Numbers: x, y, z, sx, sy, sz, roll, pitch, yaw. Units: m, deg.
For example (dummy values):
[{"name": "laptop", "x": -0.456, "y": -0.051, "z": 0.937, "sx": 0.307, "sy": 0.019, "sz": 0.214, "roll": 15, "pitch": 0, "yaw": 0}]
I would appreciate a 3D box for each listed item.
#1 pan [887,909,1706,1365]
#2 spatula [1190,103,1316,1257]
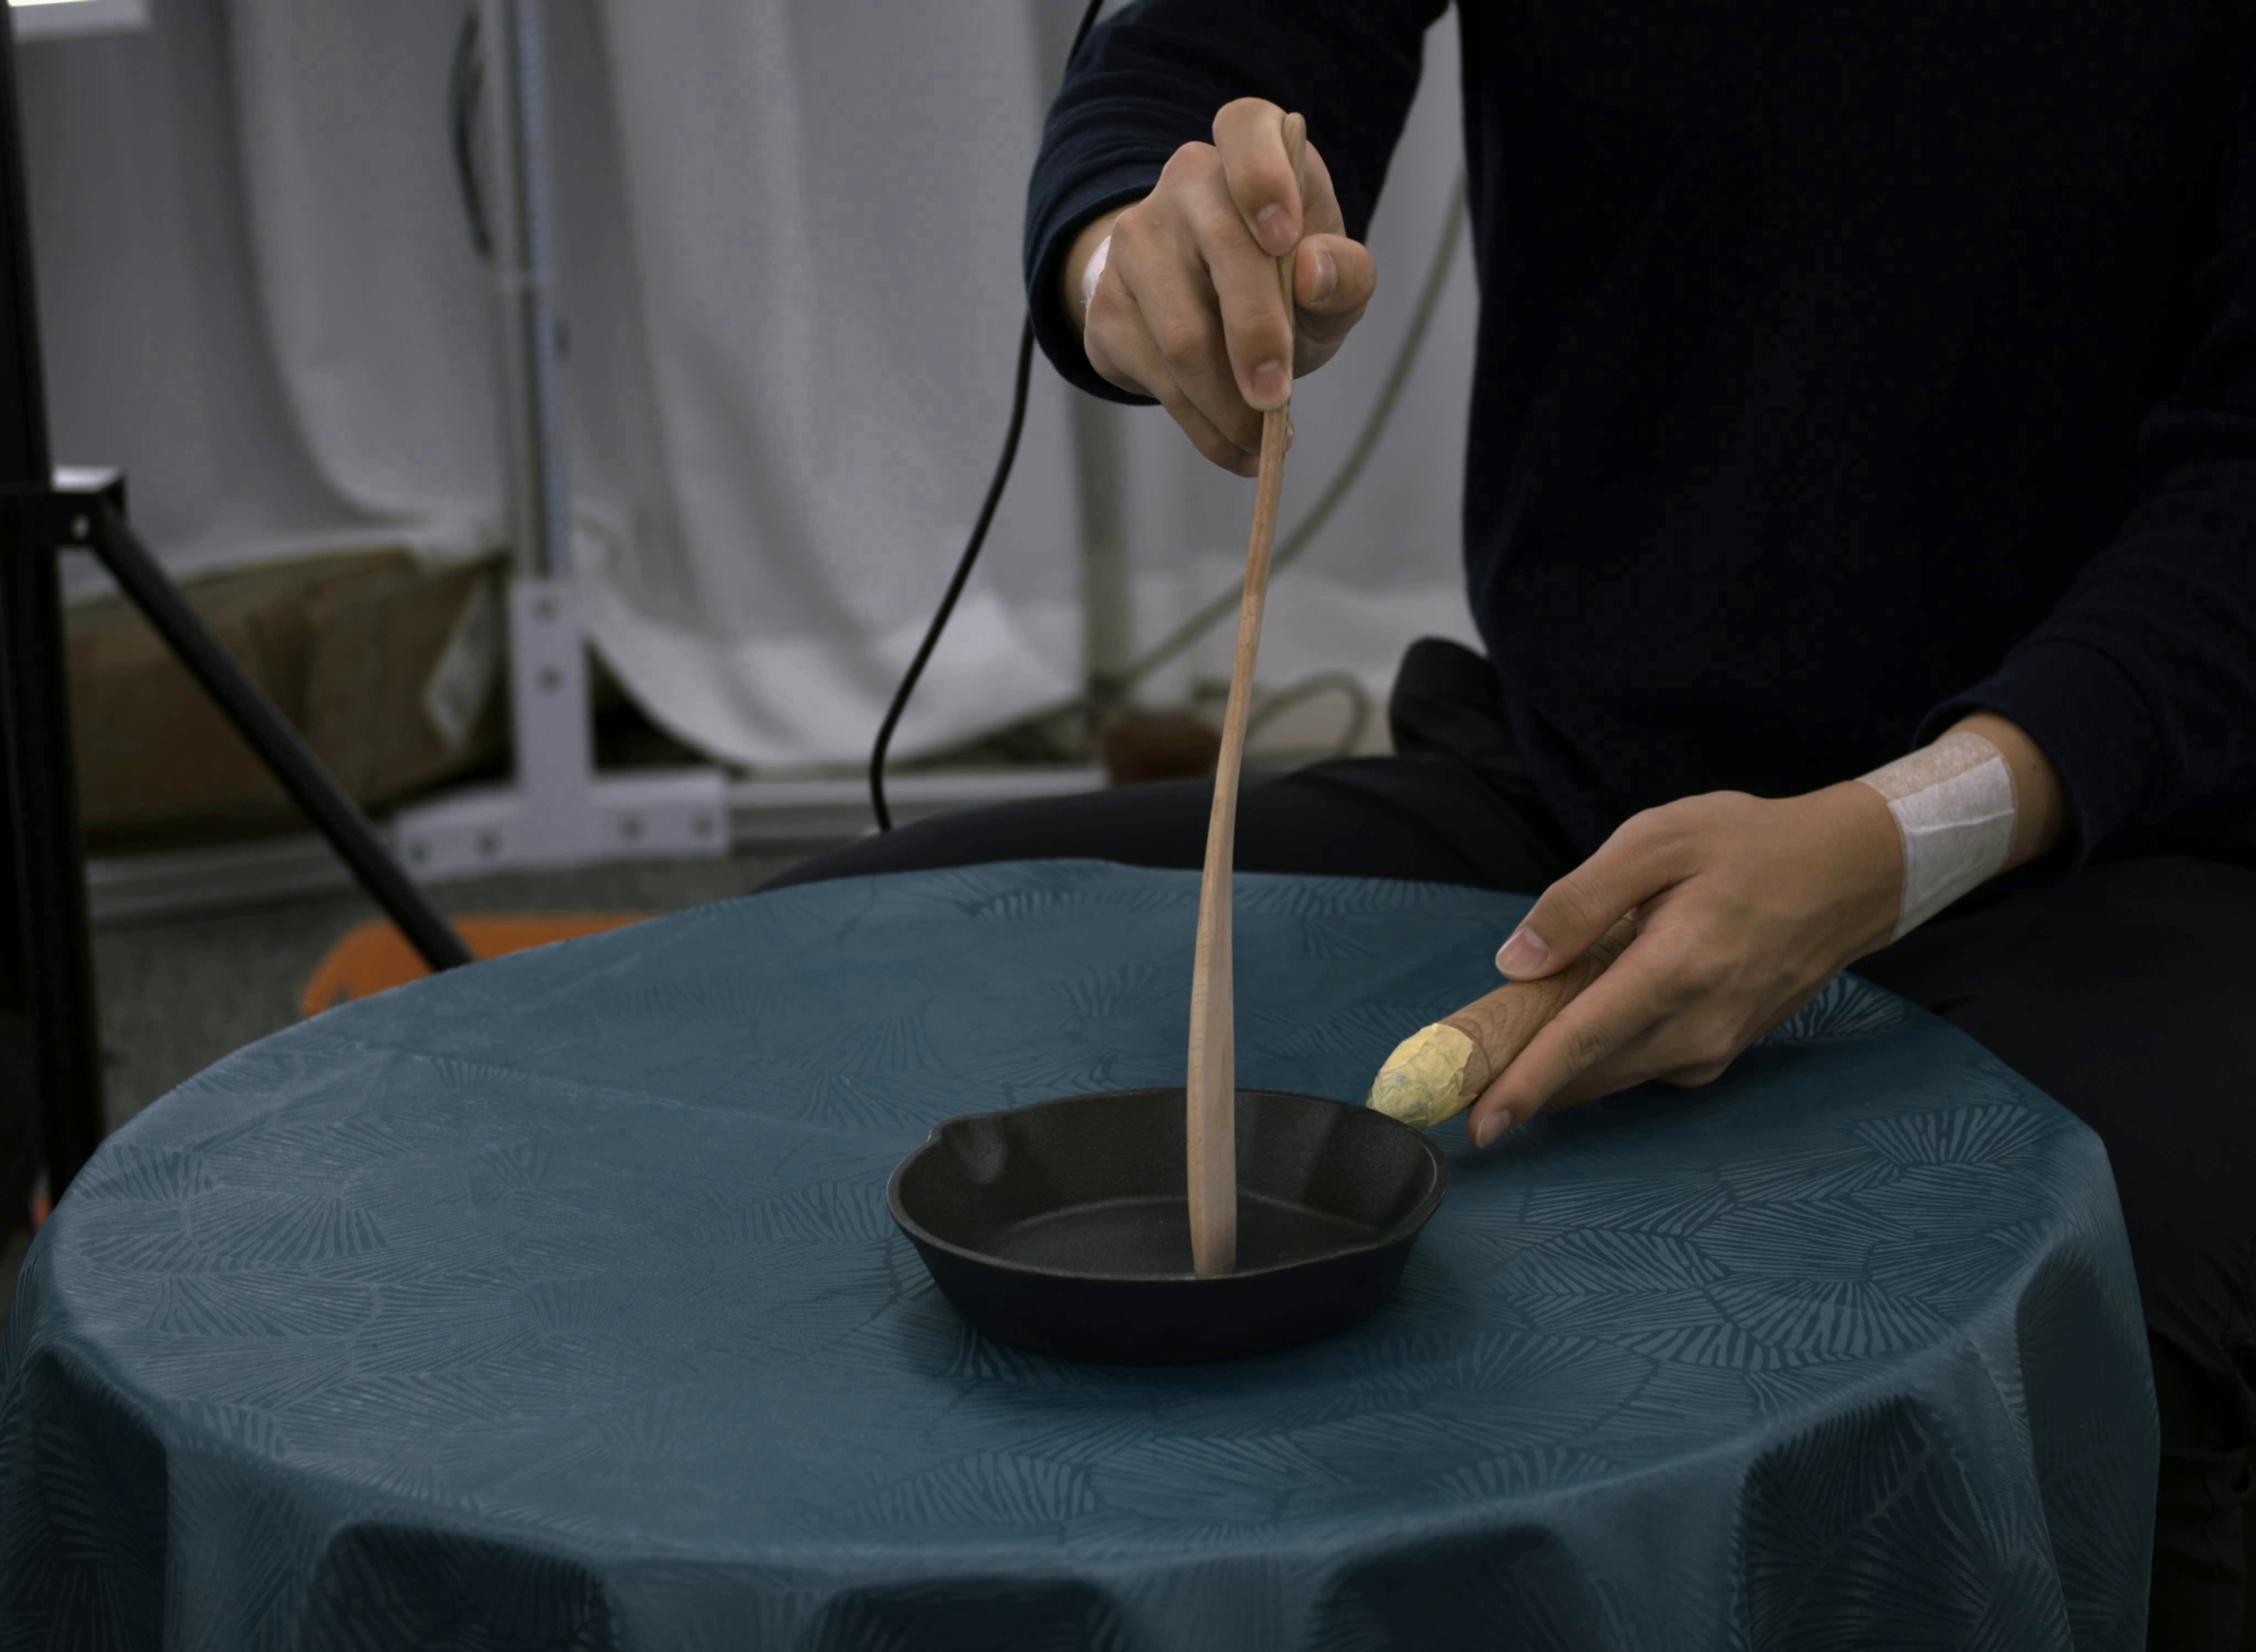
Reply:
[{"name": "pan", "x": 0.069, "y": 0.086, "z": 1.532, "sx": 0.173, "sy": 0.049, "sz": 0.317, "roll": 12, "pitch": 23, "yaw": 43}, {"name": "spatula", "x": 0.036, "y": -0.032, "z": 1.465, "sx": 0.016, "sy": 0.329, "sz": 0.079, "roll": 7, "pitch": 7, "yaw": 6}]
